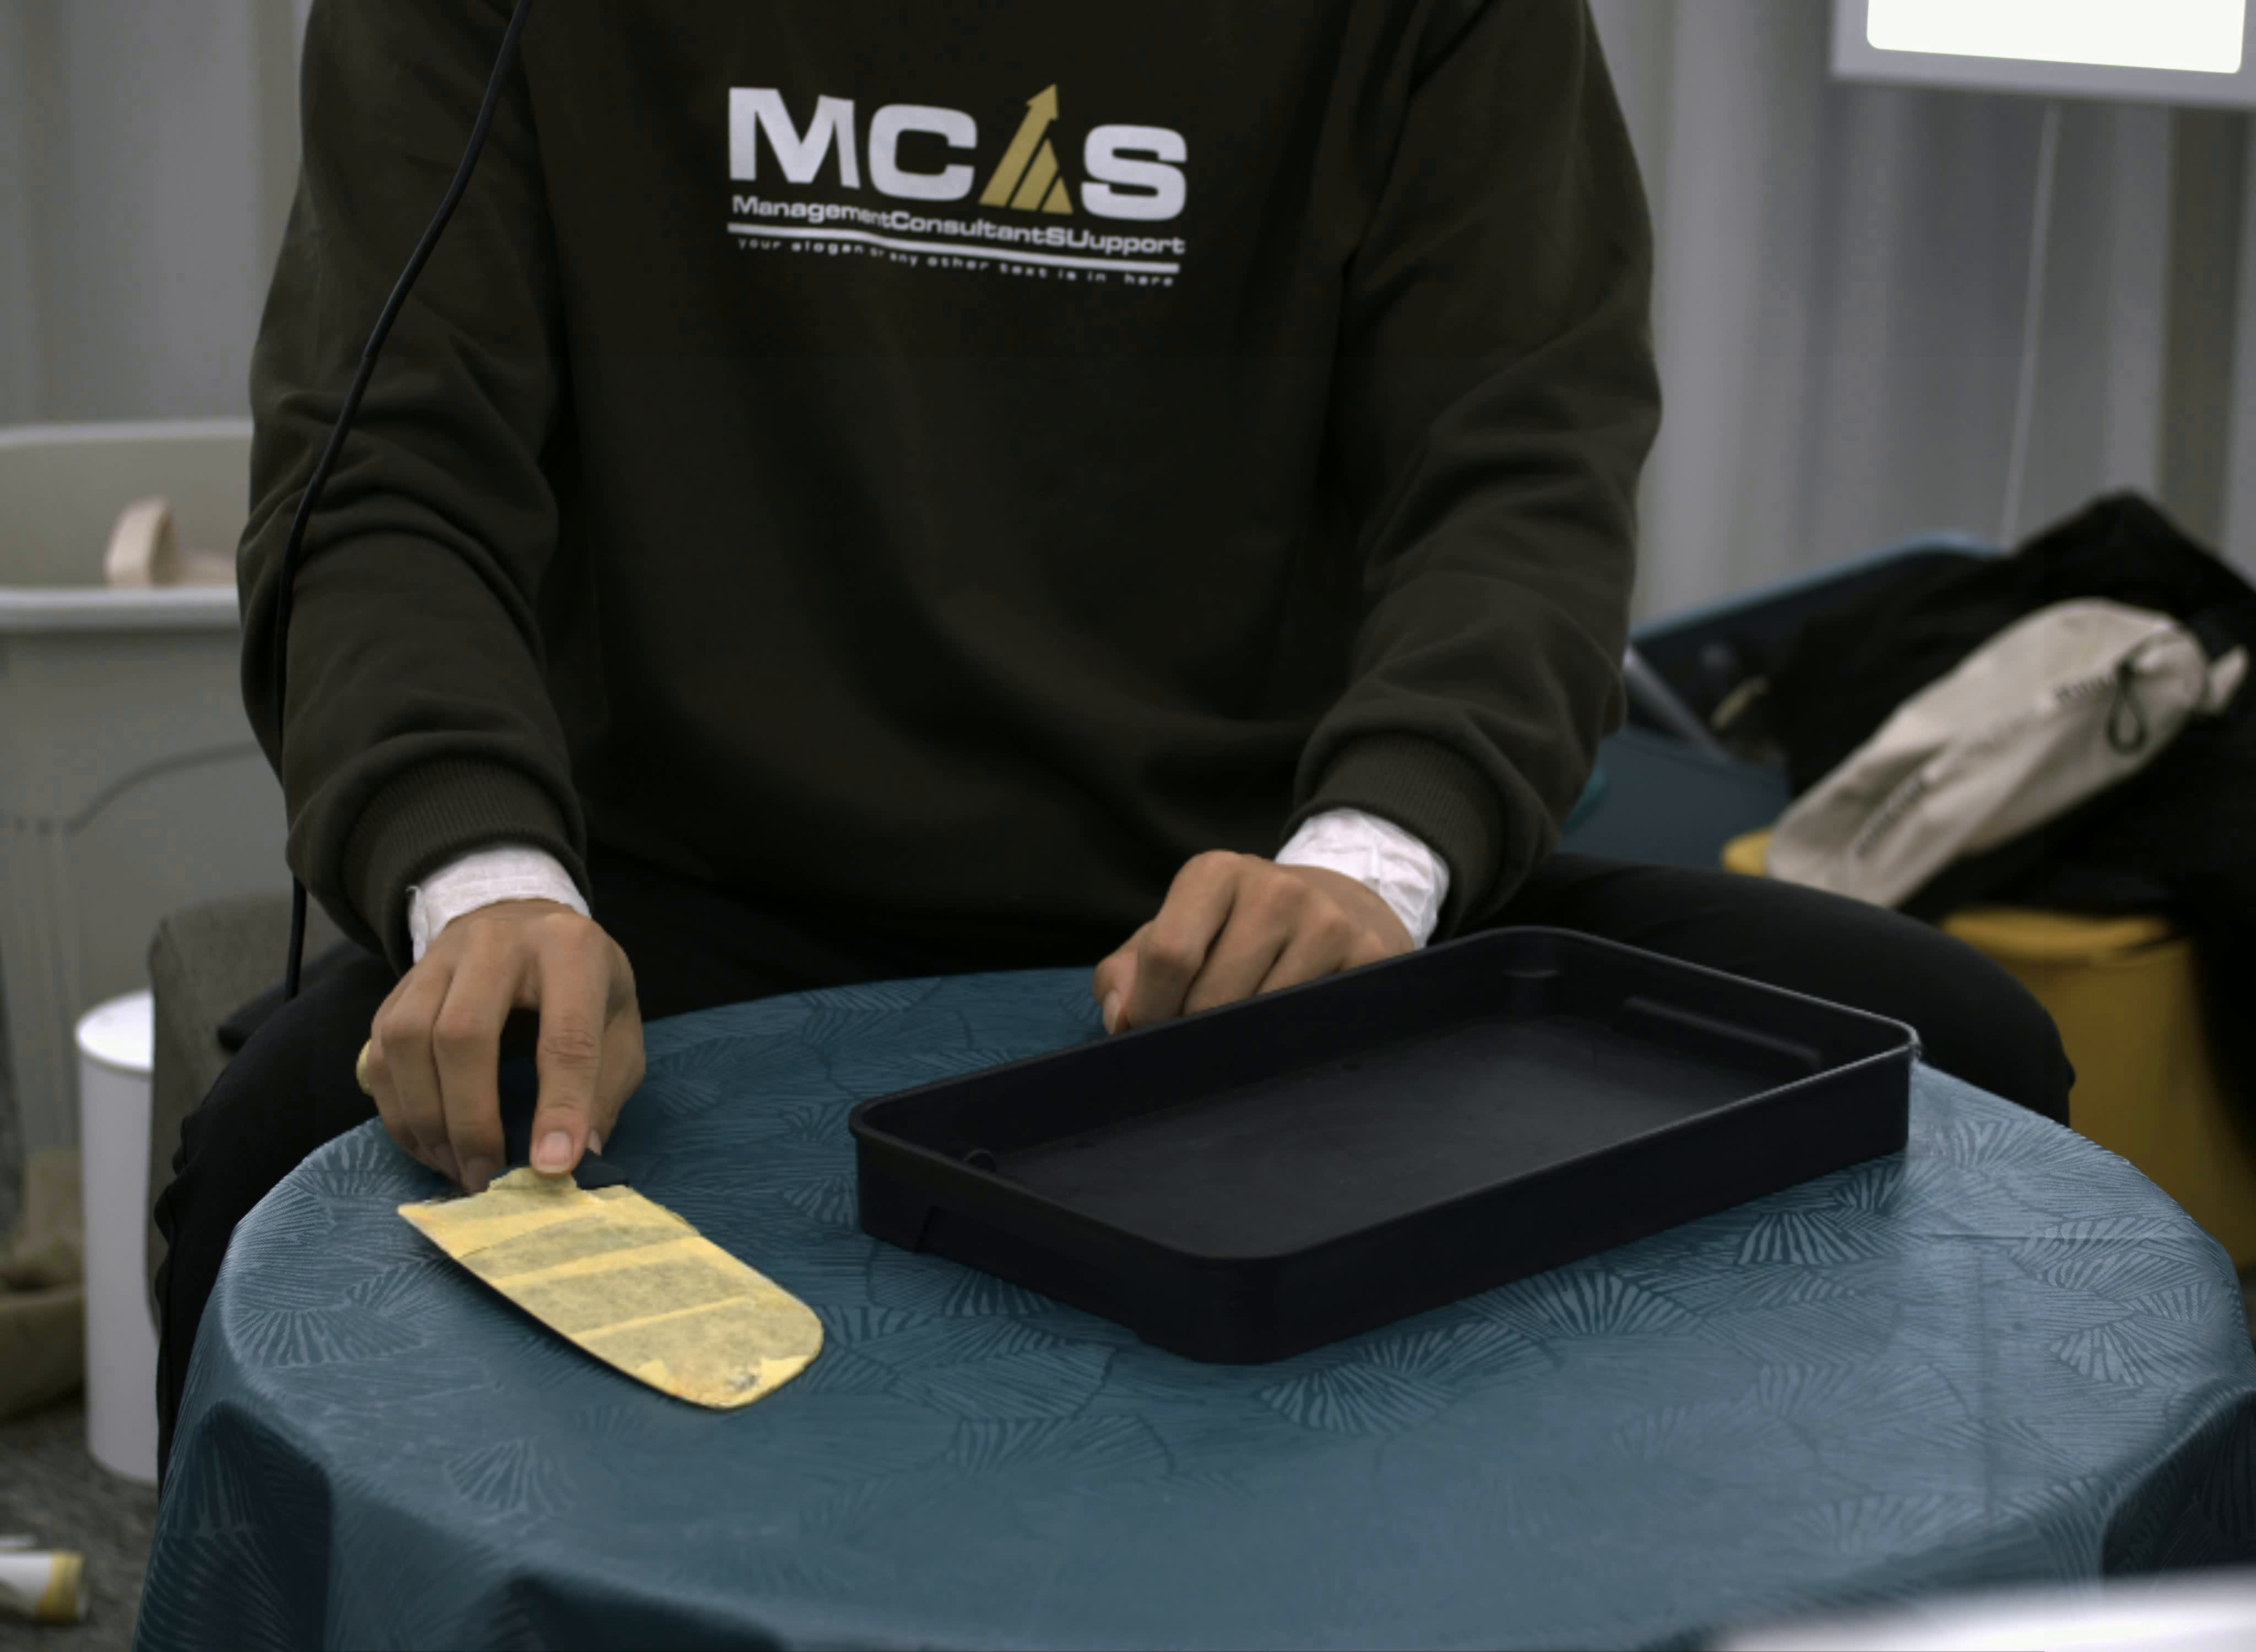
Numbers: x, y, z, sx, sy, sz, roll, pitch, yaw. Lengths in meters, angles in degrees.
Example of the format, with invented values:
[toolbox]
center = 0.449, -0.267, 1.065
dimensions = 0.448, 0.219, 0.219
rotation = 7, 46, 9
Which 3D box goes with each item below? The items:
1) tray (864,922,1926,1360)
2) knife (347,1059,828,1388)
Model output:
[tray]
center = 0.087, 0.092, 1.636
dimensions = 0.182, 0.037, 0.319
rotation = 14, 21, 43
[knife]
center = -0.175, 0.119, 1.567
dimensions = 0.081, 0.027, 0.285
rotation = -5, 17, -32
